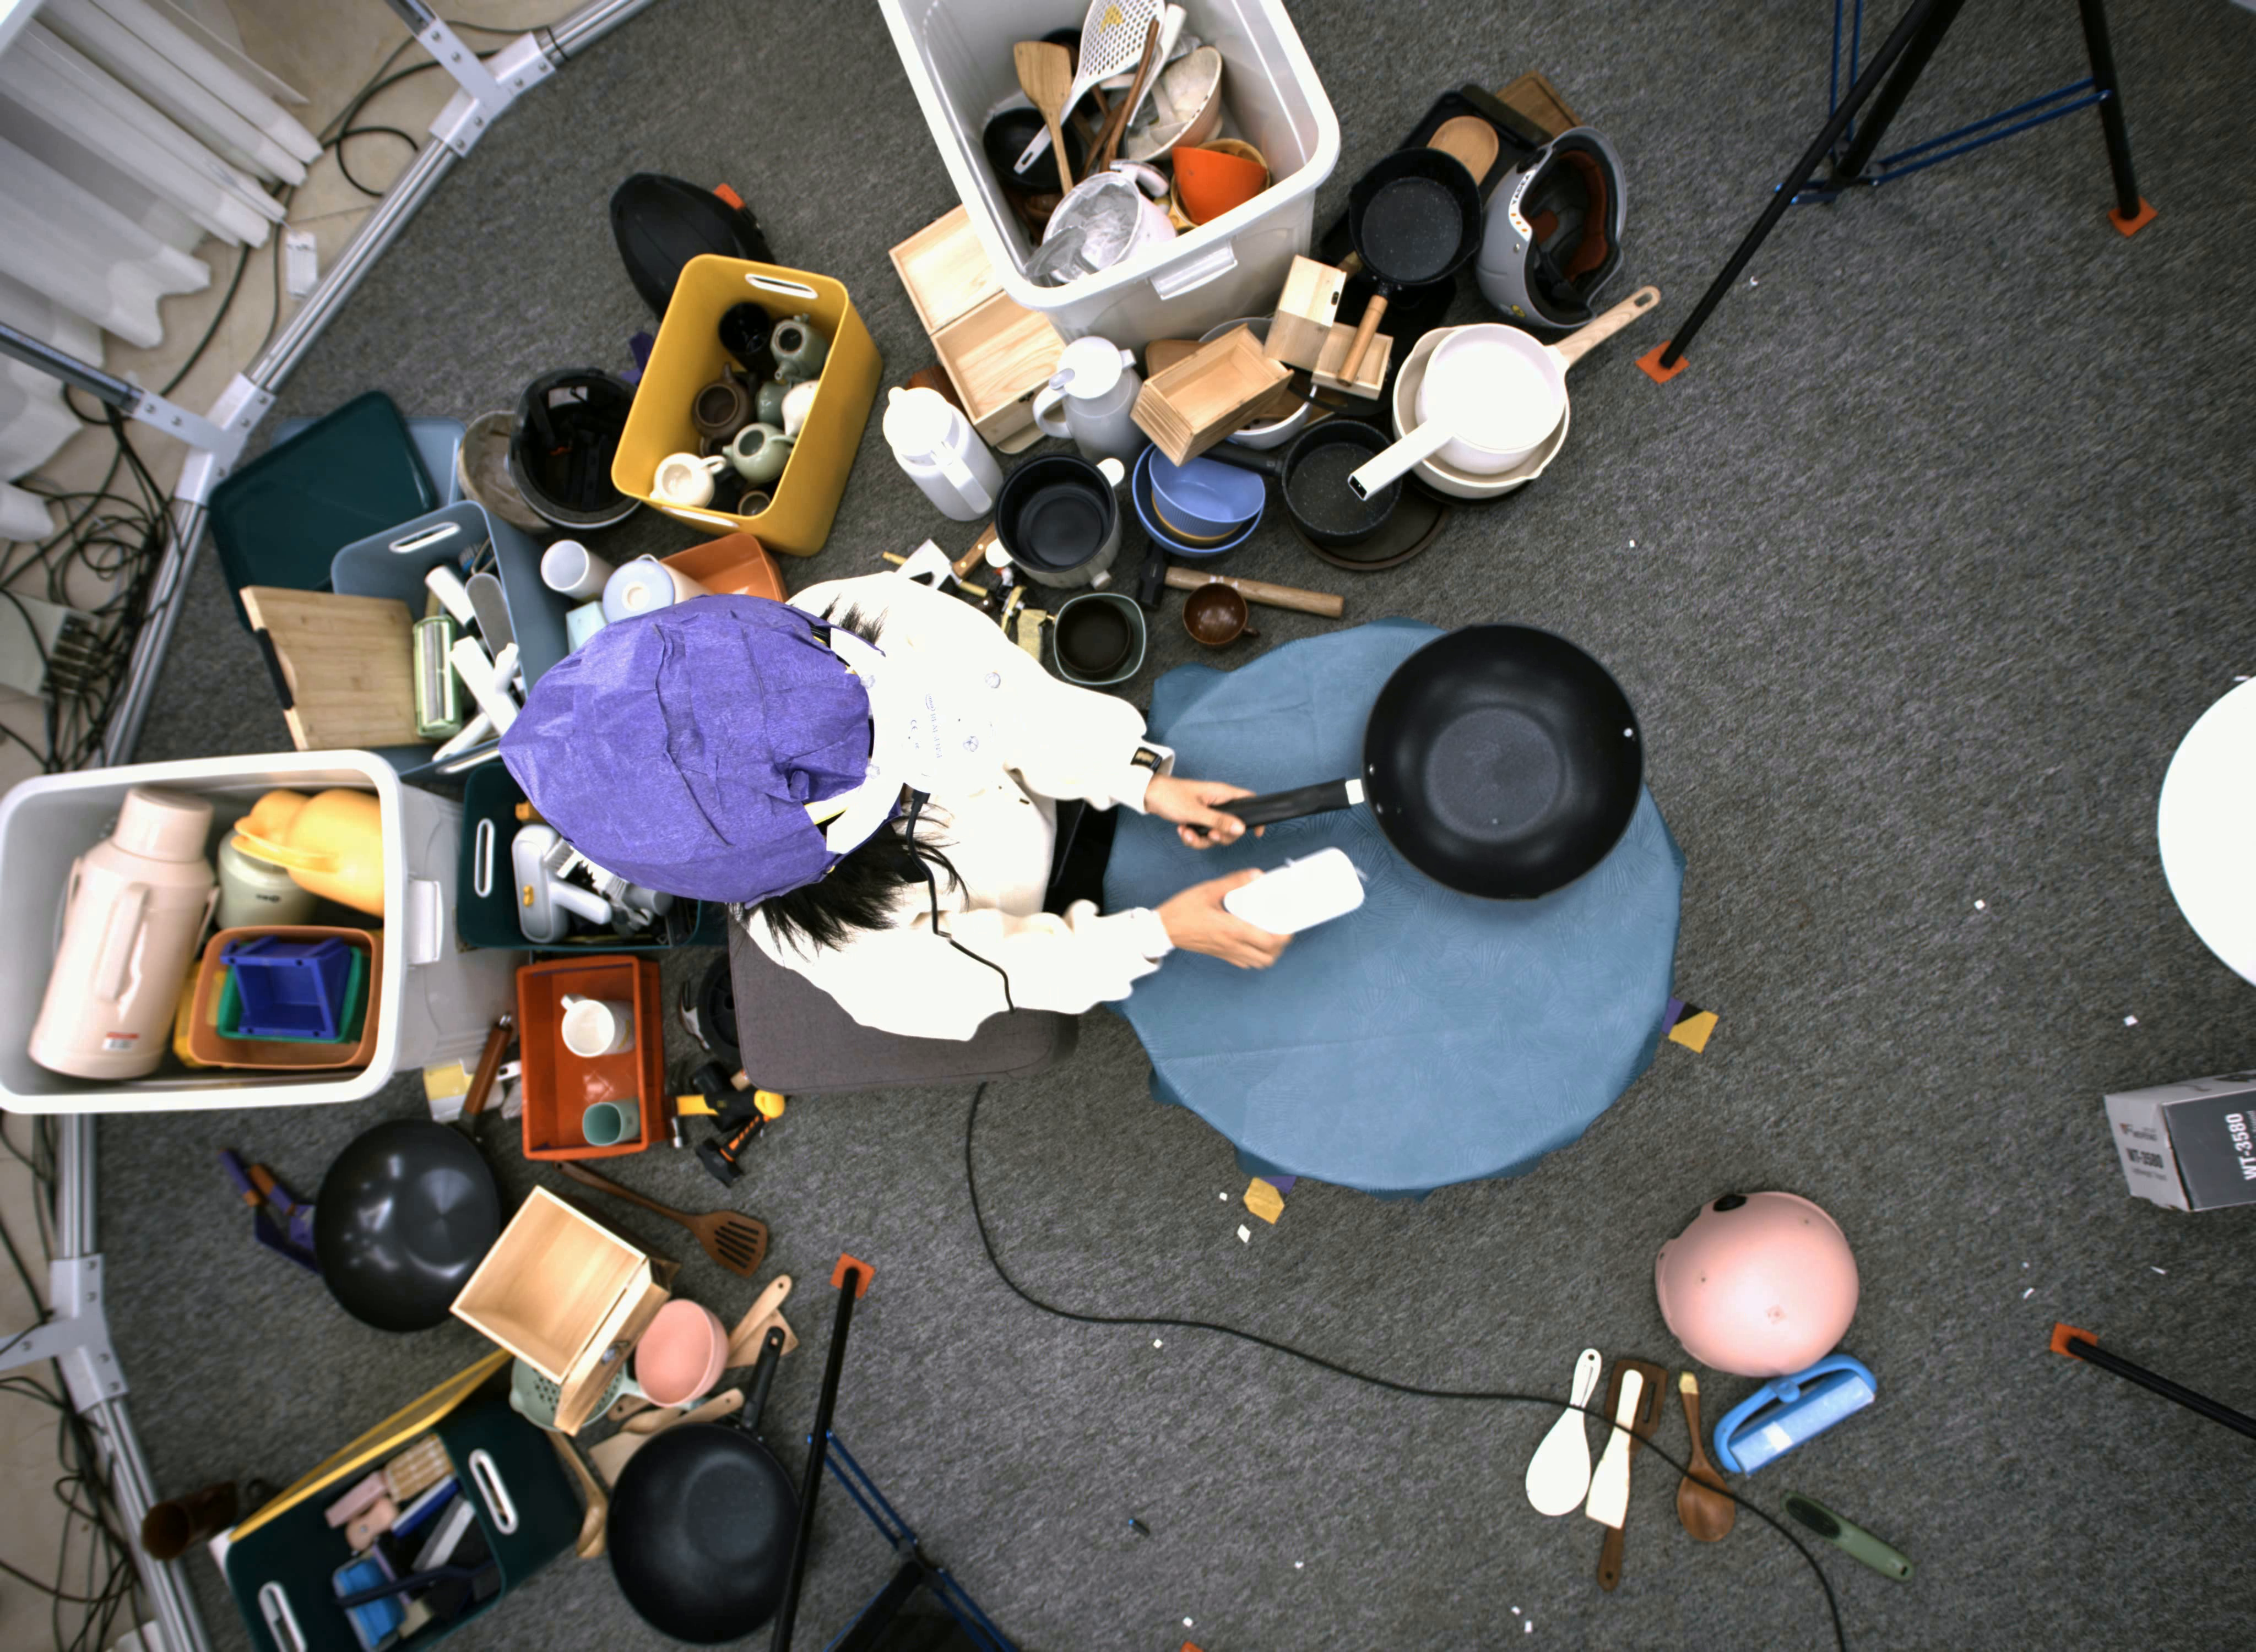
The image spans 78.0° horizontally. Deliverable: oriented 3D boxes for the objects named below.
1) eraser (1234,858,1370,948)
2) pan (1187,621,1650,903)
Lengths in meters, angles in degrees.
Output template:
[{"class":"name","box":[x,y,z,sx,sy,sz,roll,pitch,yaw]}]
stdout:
[{"class":"eraser","box":[0.174,0.075,1.391,0.132,0.034,0.064,-19,111,14]},{"class":"pan","box":[0.294,-0.047,1.421,0.466,0.087,0.286,-11,84,11]}]
